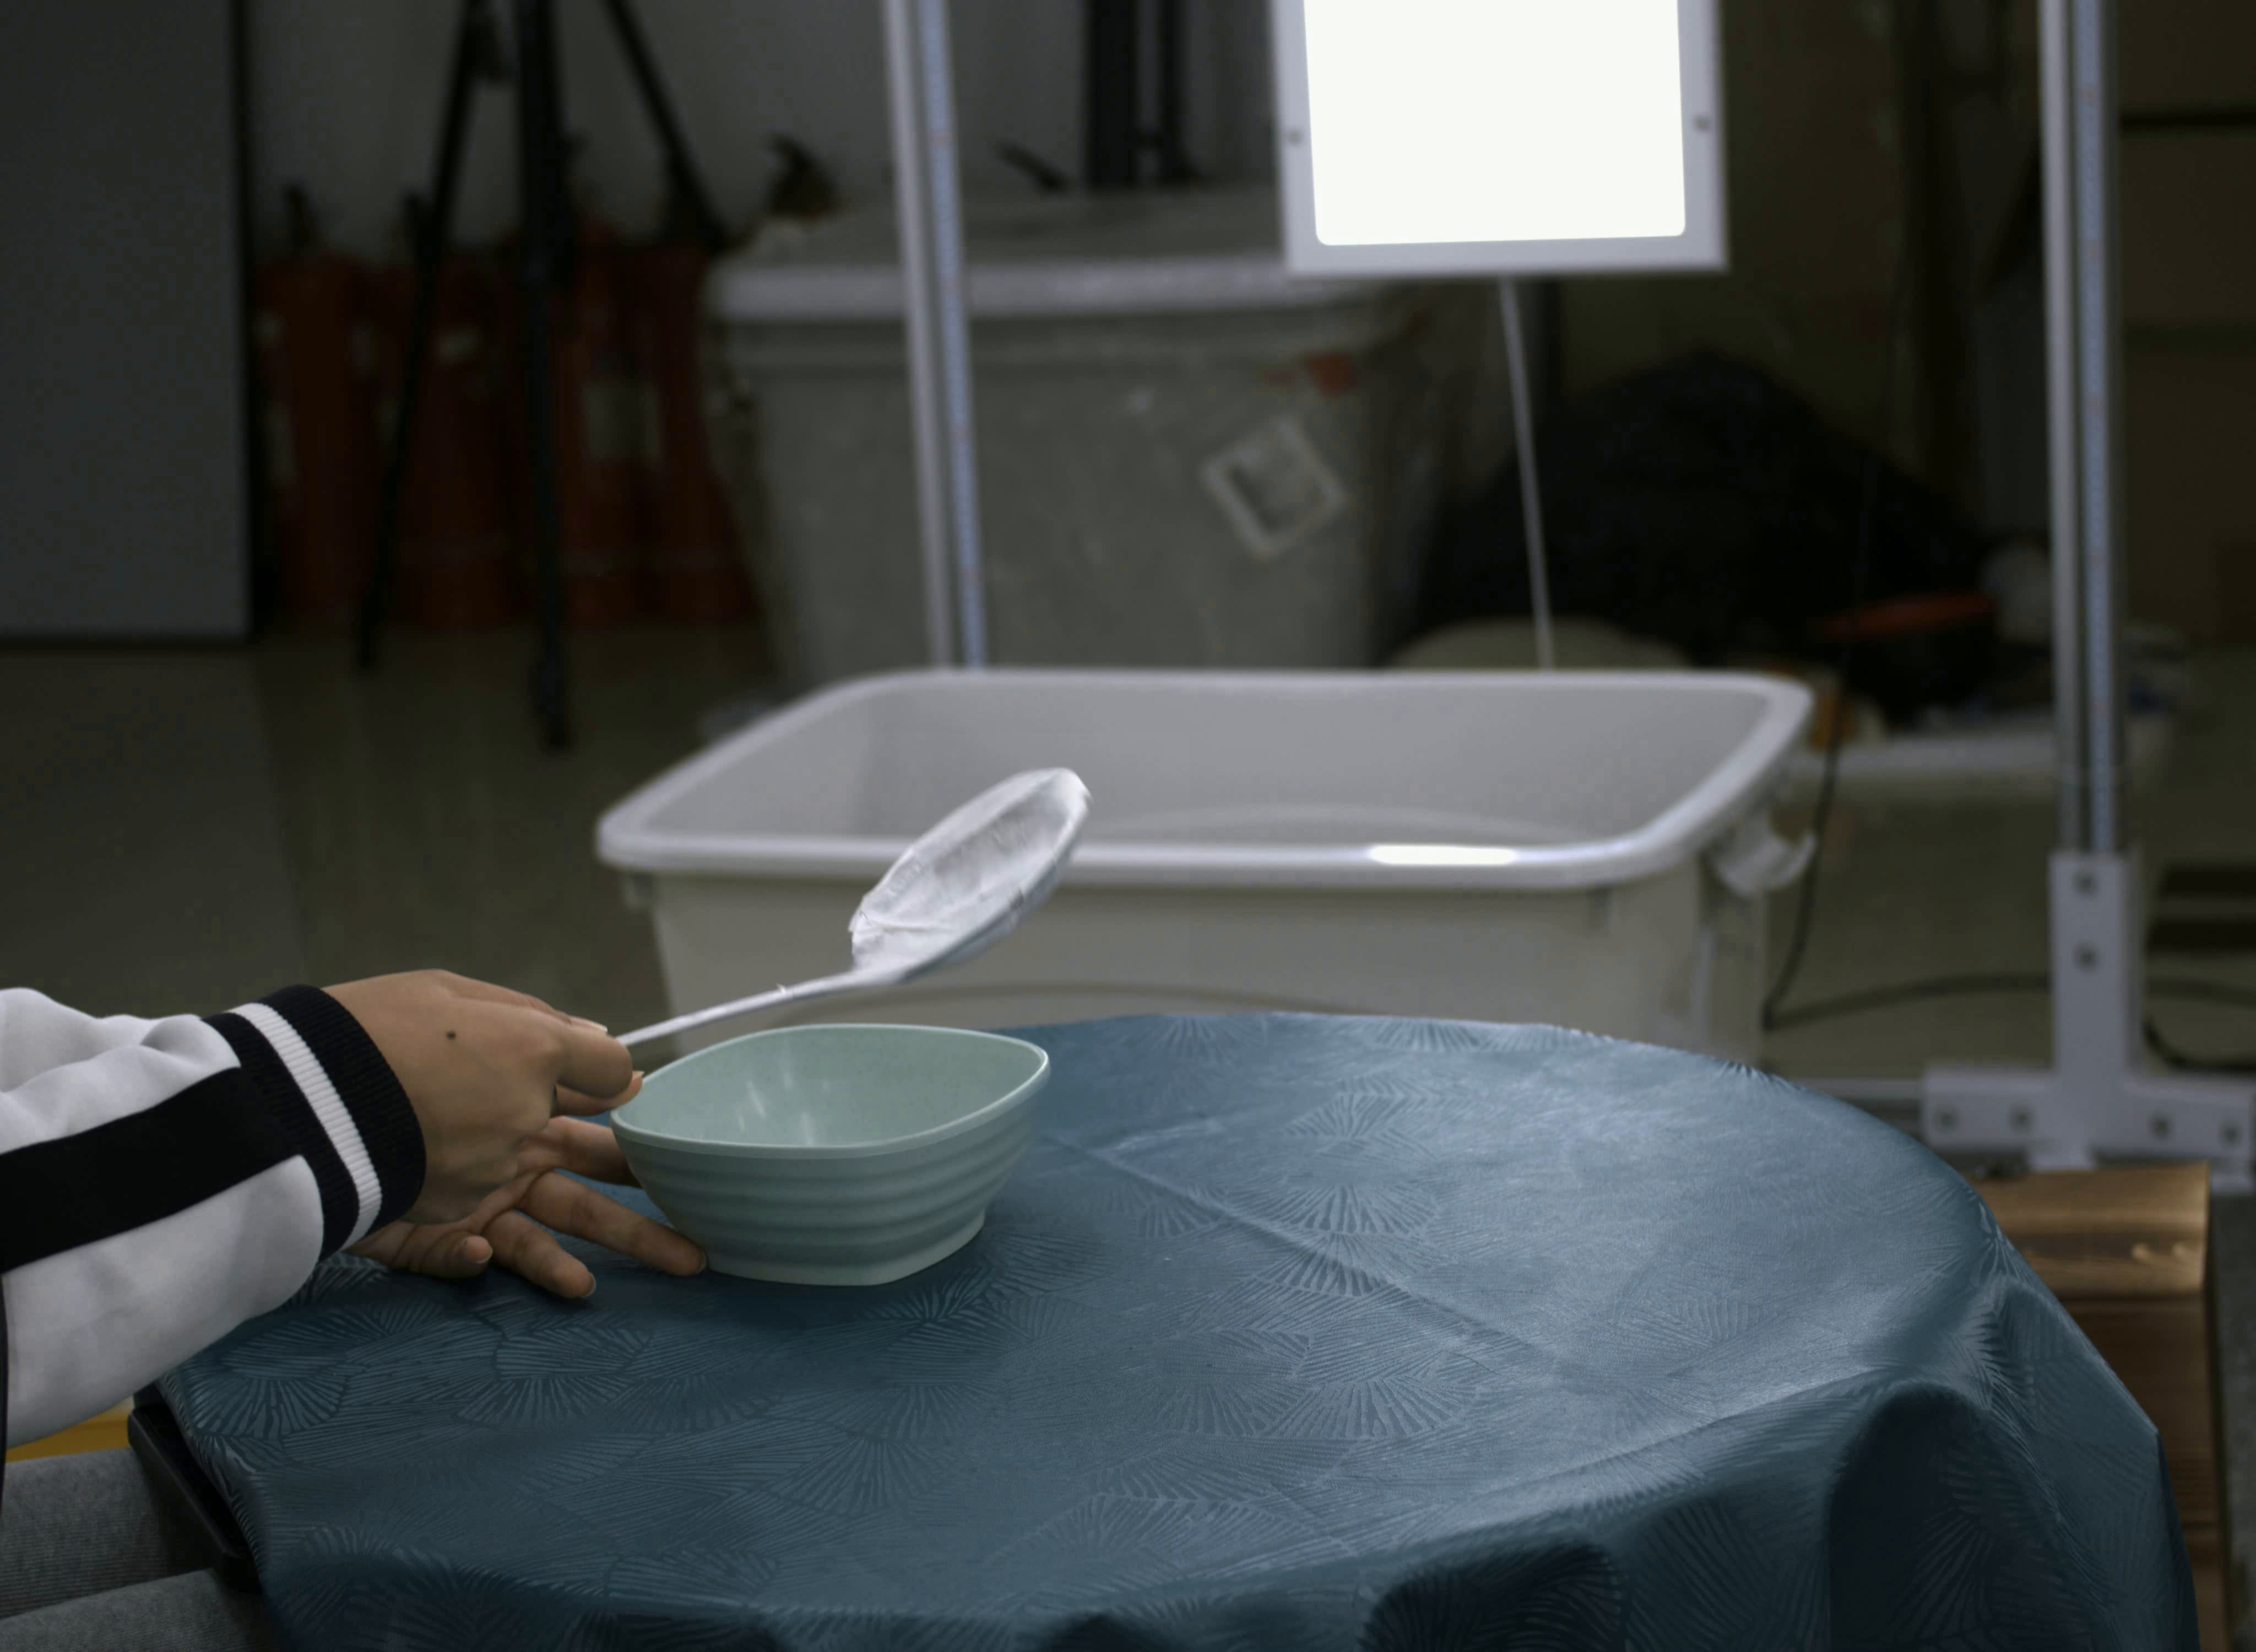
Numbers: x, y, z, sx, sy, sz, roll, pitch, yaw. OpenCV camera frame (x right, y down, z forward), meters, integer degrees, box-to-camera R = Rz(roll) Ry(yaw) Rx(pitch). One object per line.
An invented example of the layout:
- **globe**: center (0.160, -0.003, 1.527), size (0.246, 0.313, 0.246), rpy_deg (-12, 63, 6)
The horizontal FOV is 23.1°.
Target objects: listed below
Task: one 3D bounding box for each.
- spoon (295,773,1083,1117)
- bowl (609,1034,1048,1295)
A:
- **spoon**: center (-0.137, 0.035, 1.715), size (0.271, 0.059, 0.102), rpy_deg (-11, 3, -28)
- **bowl**: center (-0.098, 0.117, 1.863), size (0.151, 0.059, 0.151), rpy_deg (-5, 14, 0)
